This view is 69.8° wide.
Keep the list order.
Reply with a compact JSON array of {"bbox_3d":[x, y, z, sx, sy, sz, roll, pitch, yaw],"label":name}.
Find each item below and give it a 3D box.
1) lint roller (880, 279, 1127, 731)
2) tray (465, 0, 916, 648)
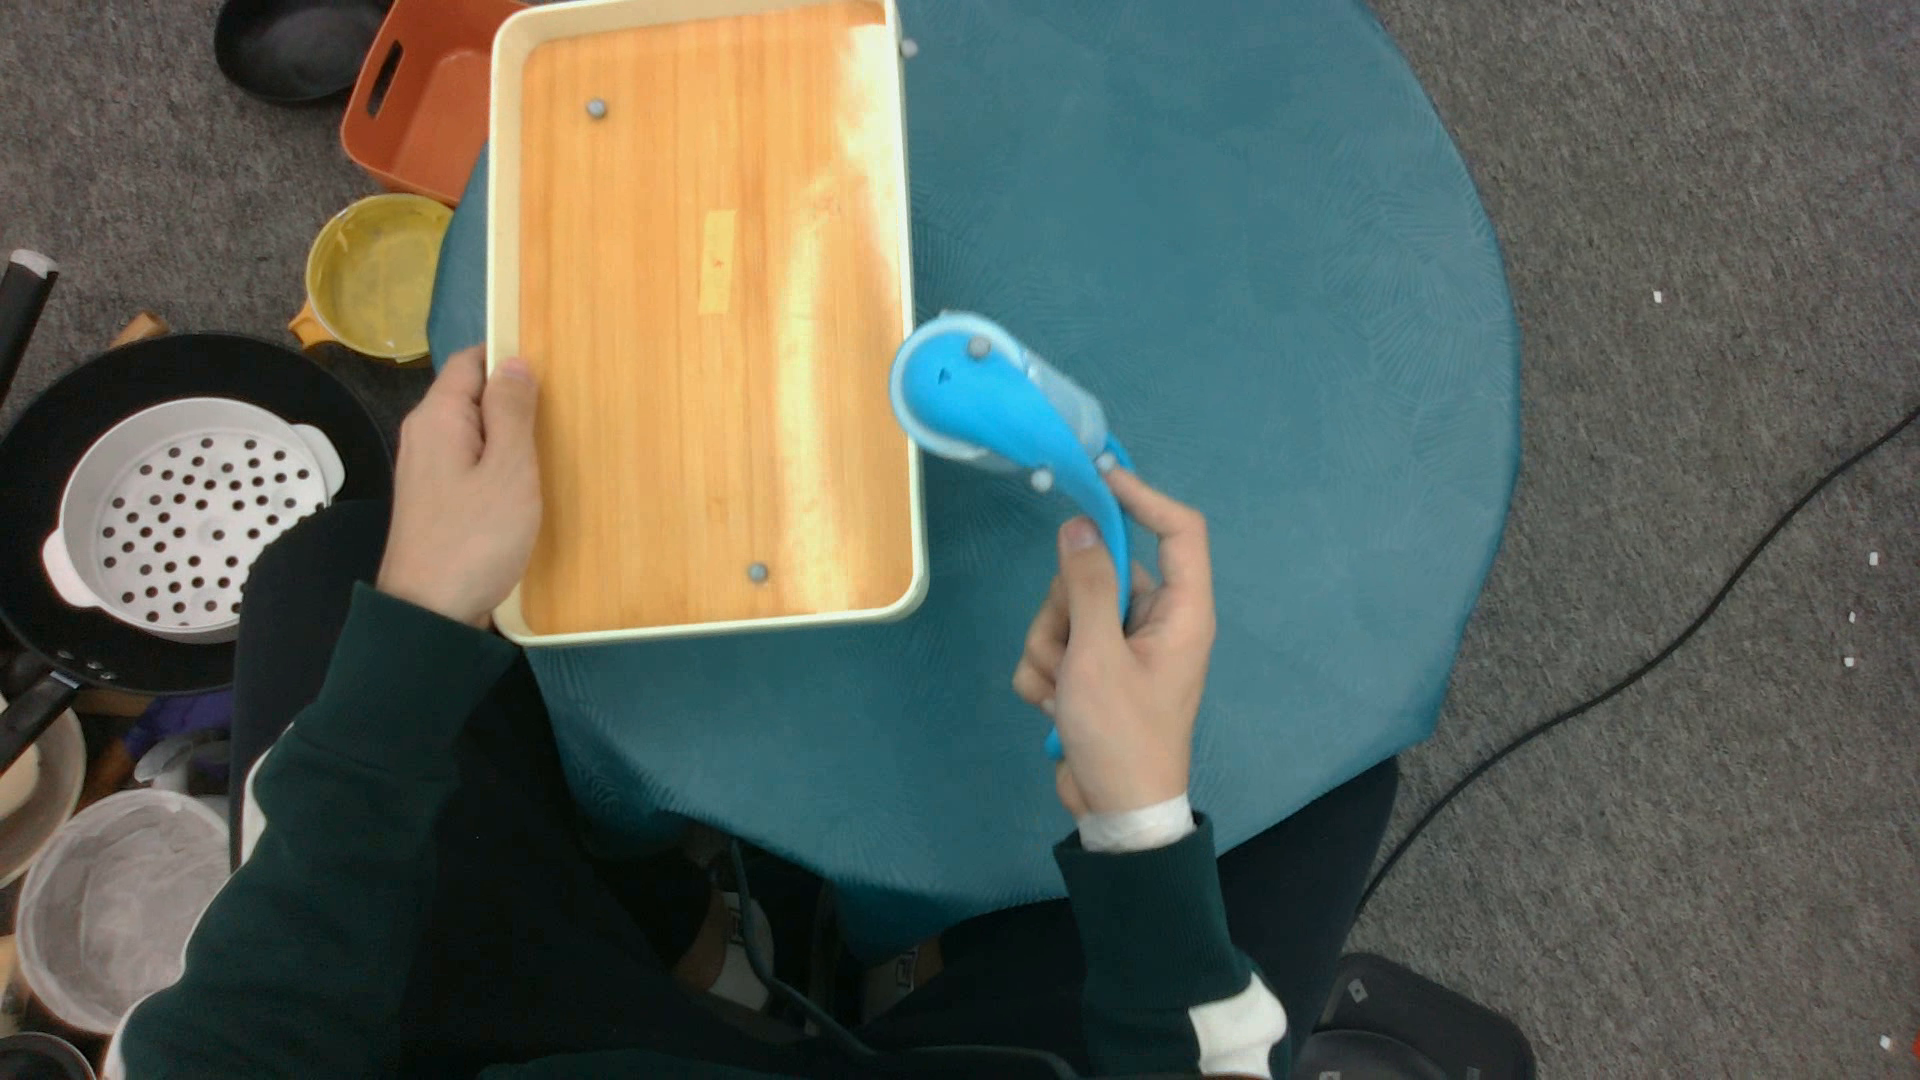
[{"bbox_3d":[0.037,-0.013,0.589,0.068,0.229,0.180,-17,89,13],"label":"lint roller"},{"bbox_3d":[-0.125,-0.108,0.621,0.191,0.027,0.301,-6,79,6],"label":"tray"}]
